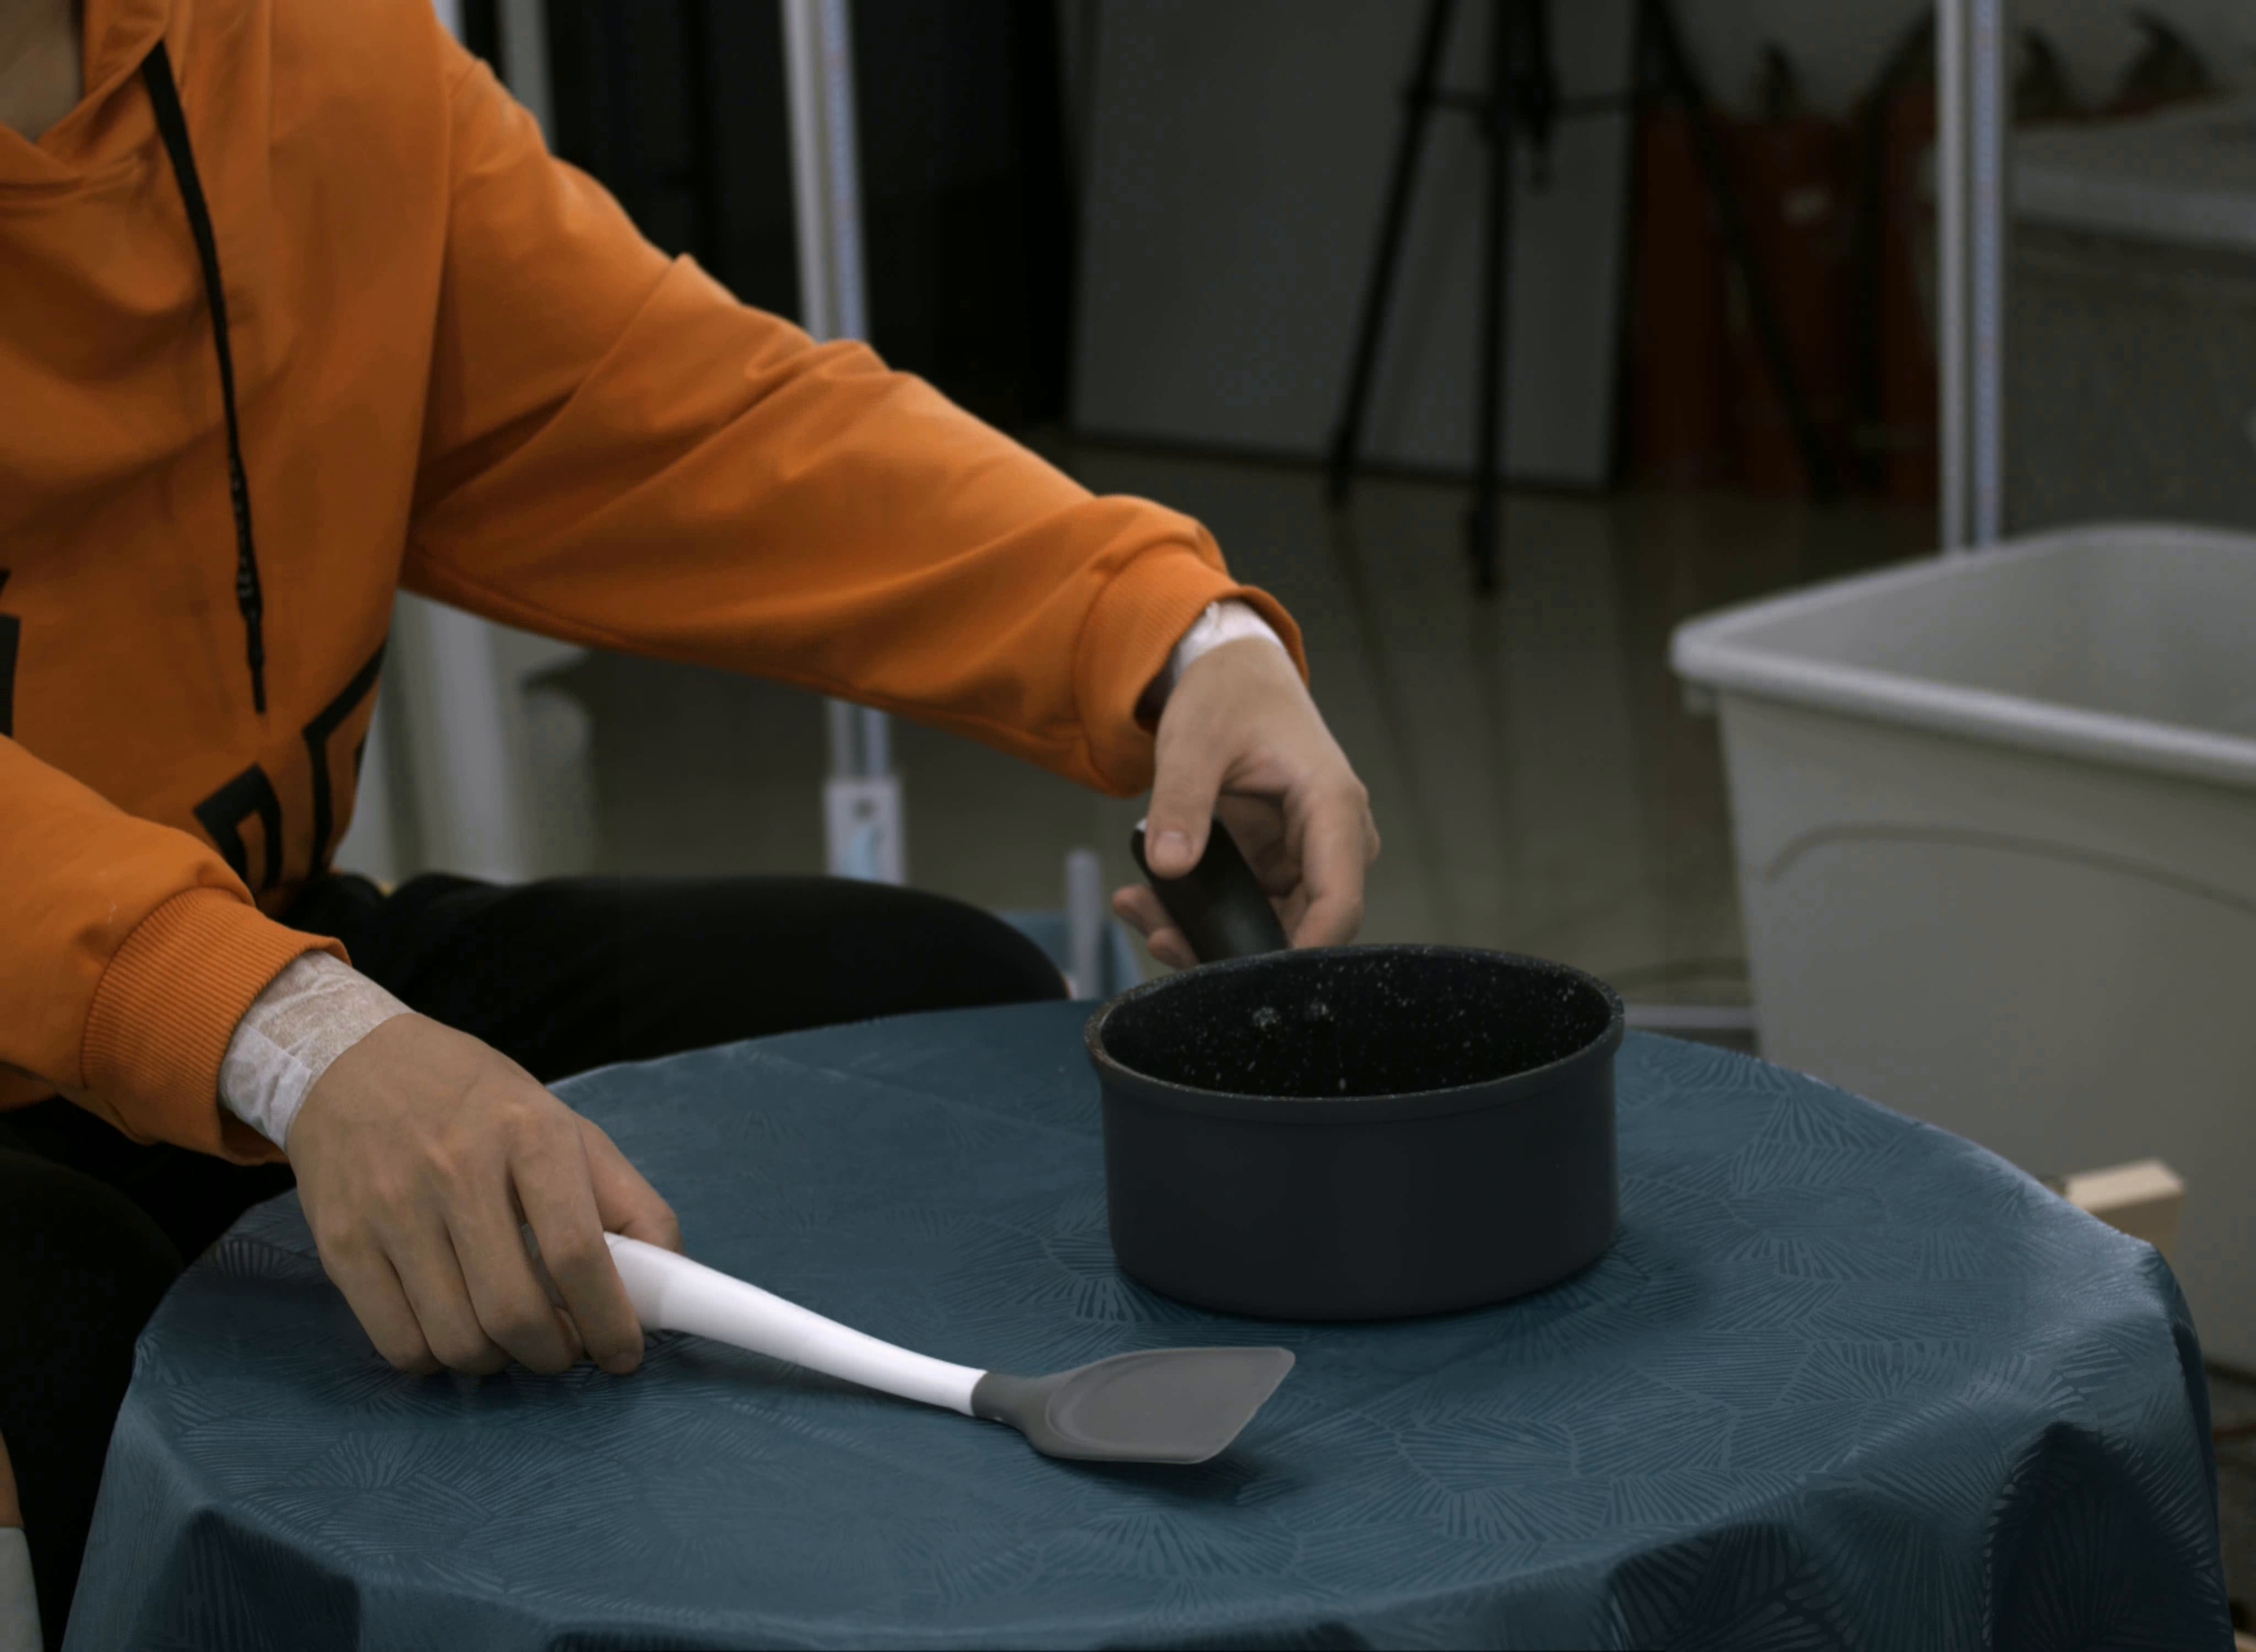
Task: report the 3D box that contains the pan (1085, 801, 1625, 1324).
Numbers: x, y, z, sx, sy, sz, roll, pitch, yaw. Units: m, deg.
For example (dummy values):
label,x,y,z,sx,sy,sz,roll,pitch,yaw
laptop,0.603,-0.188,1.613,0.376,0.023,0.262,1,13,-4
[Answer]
label,x,y,z,sx,sy,sz,roll,pitch,yaw
pan,0.058,0.074,1.769,0.169,0.087,0.331,-5,15,-9

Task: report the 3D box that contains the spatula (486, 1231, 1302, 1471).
label,x,y,z,sx,sy,sz,roll,pitch,yaw
spatula,-0.073,0.154,1.589,0.289,0.032,0.058,7,36,36
